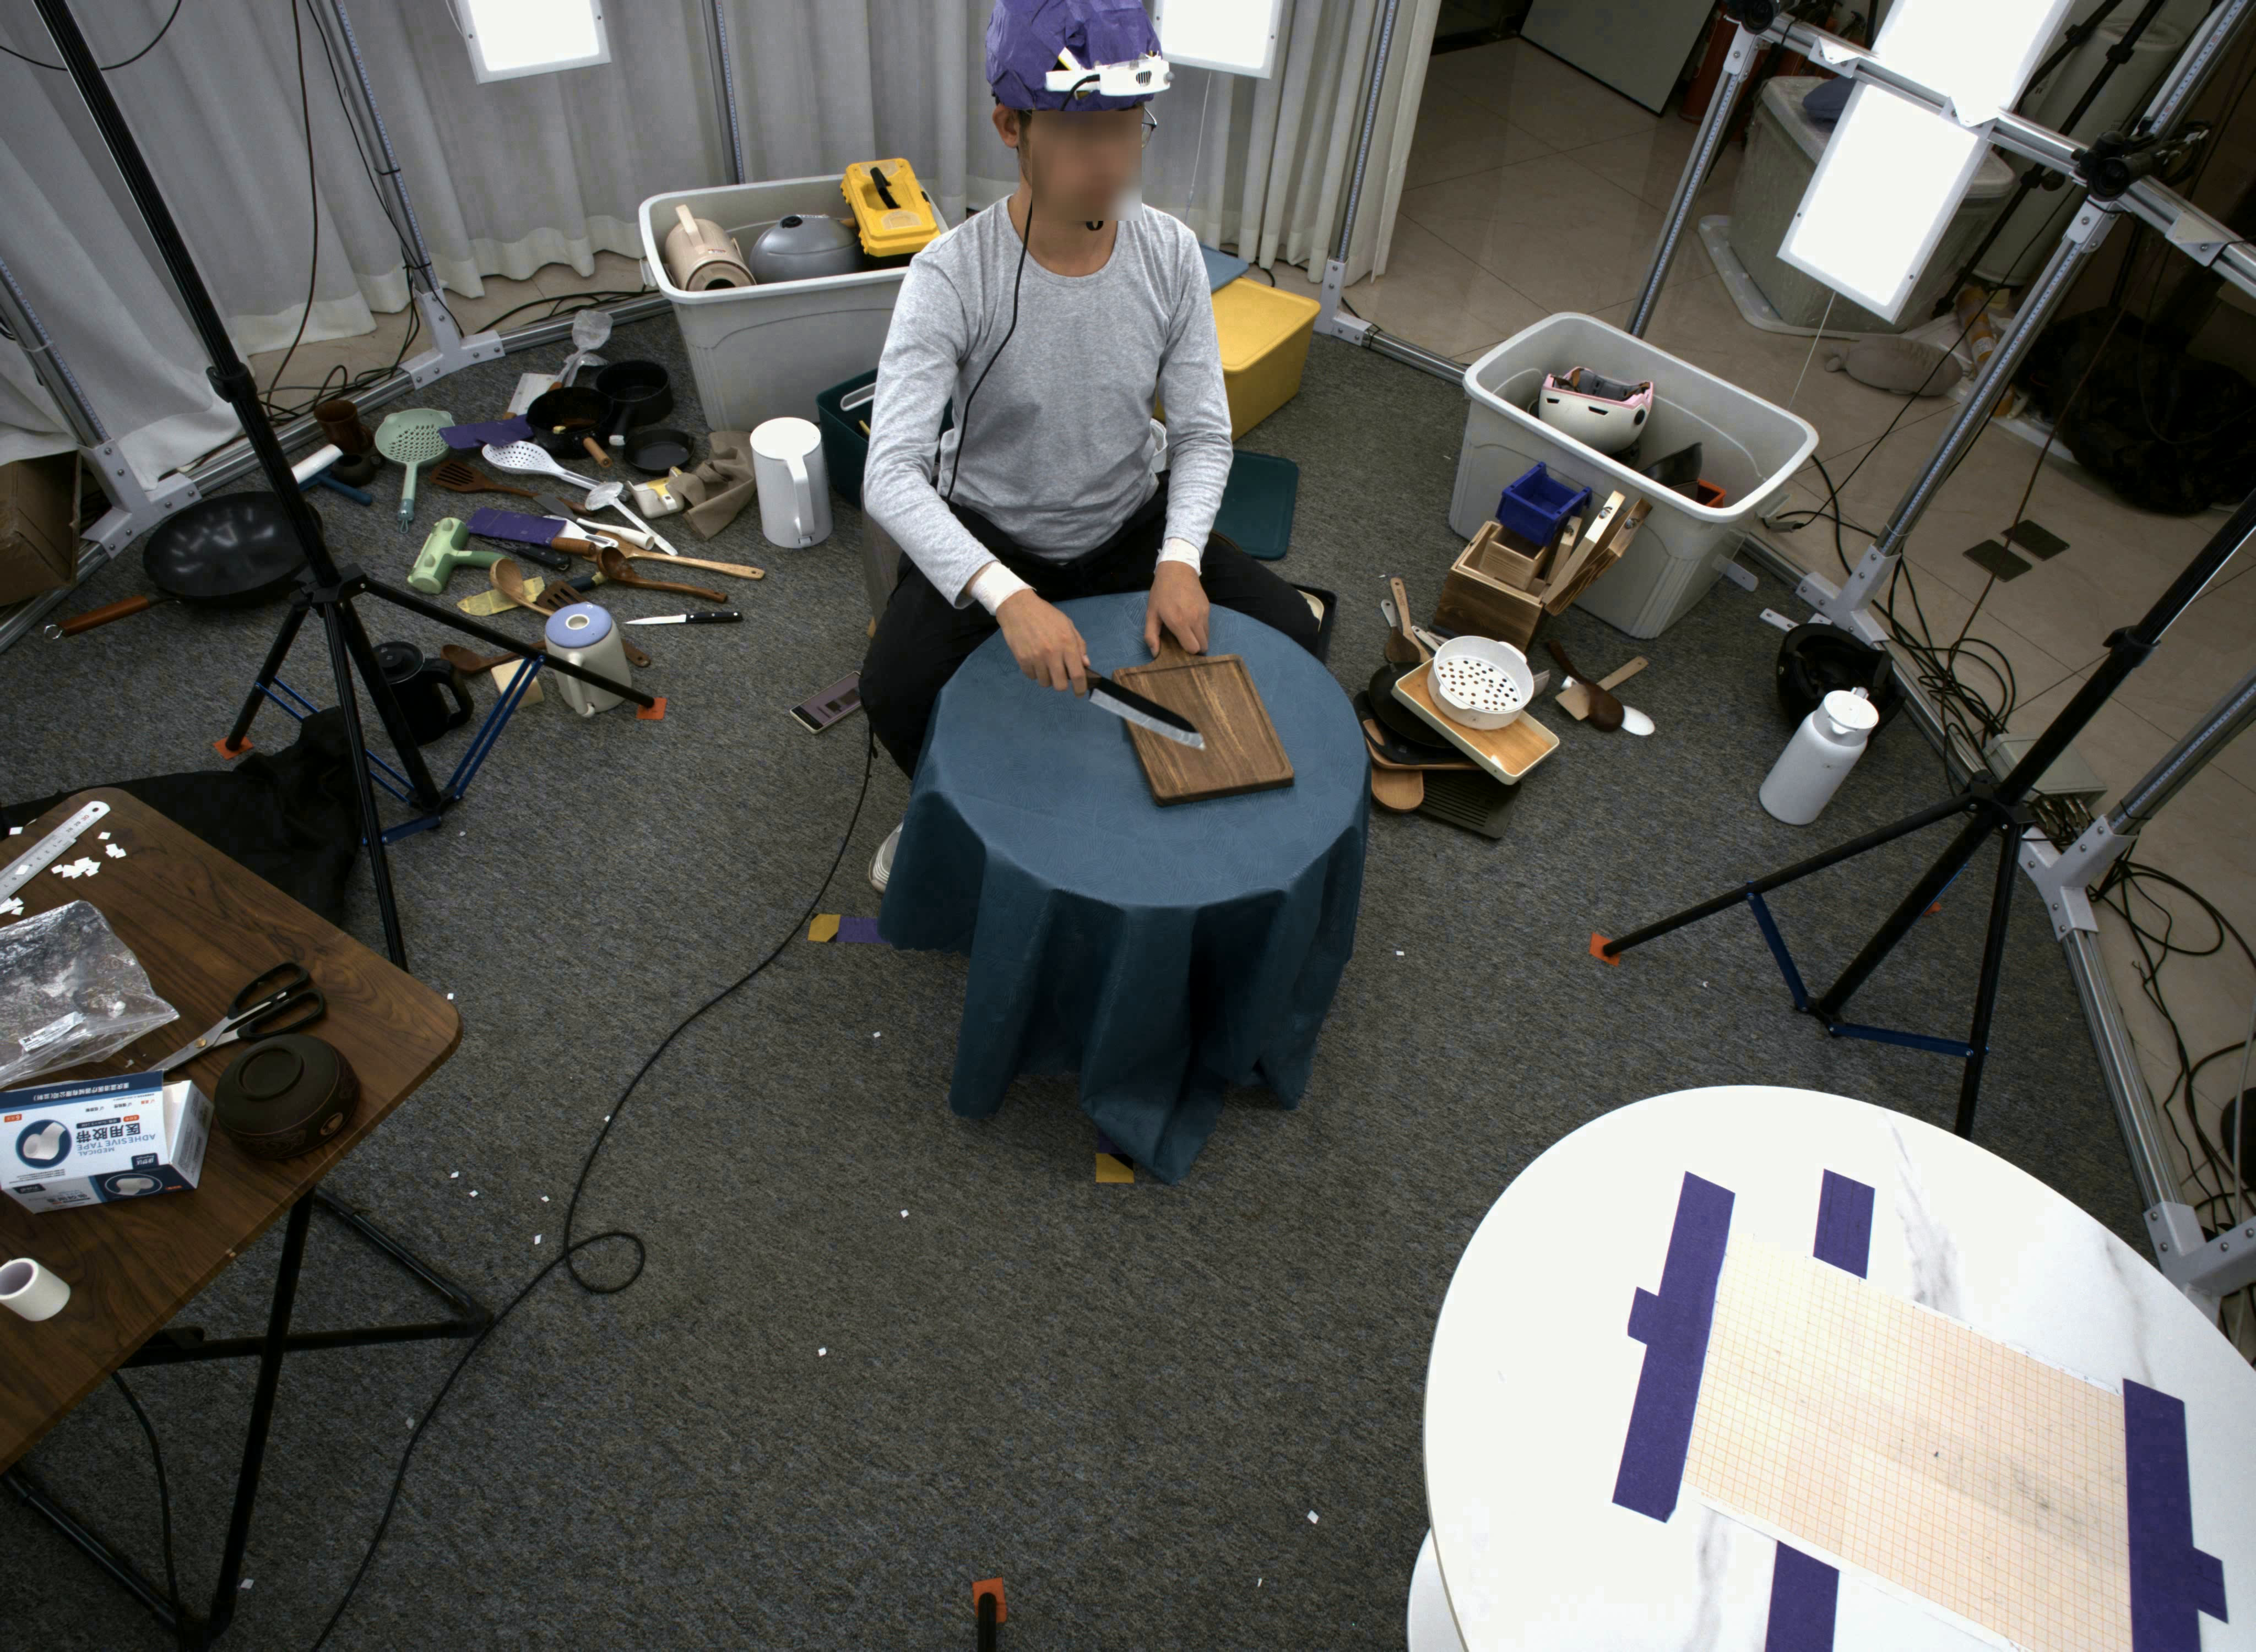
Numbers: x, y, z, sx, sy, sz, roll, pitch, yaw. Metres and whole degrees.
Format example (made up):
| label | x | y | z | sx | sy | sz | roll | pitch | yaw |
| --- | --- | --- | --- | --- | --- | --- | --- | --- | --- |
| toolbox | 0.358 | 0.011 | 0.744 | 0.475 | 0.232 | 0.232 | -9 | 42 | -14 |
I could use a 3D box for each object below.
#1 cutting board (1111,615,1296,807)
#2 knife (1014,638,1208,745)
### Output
| label | x | y | z | sx | sy | sz | roll | pitch | yaw |
| --- | --- | --- | --- | --- | --- | --- | --- | --- | --- |
| cutting board | 0.089 | -0.177 | 1.814 | 0.201 | 0.022 | 0.361 | -9 | 50 | -12 |
| knife | -0.021 | -0.175 | 1.693 | 0.289 | 0.049 | 0.020 | 27 | 44 | 2 |
